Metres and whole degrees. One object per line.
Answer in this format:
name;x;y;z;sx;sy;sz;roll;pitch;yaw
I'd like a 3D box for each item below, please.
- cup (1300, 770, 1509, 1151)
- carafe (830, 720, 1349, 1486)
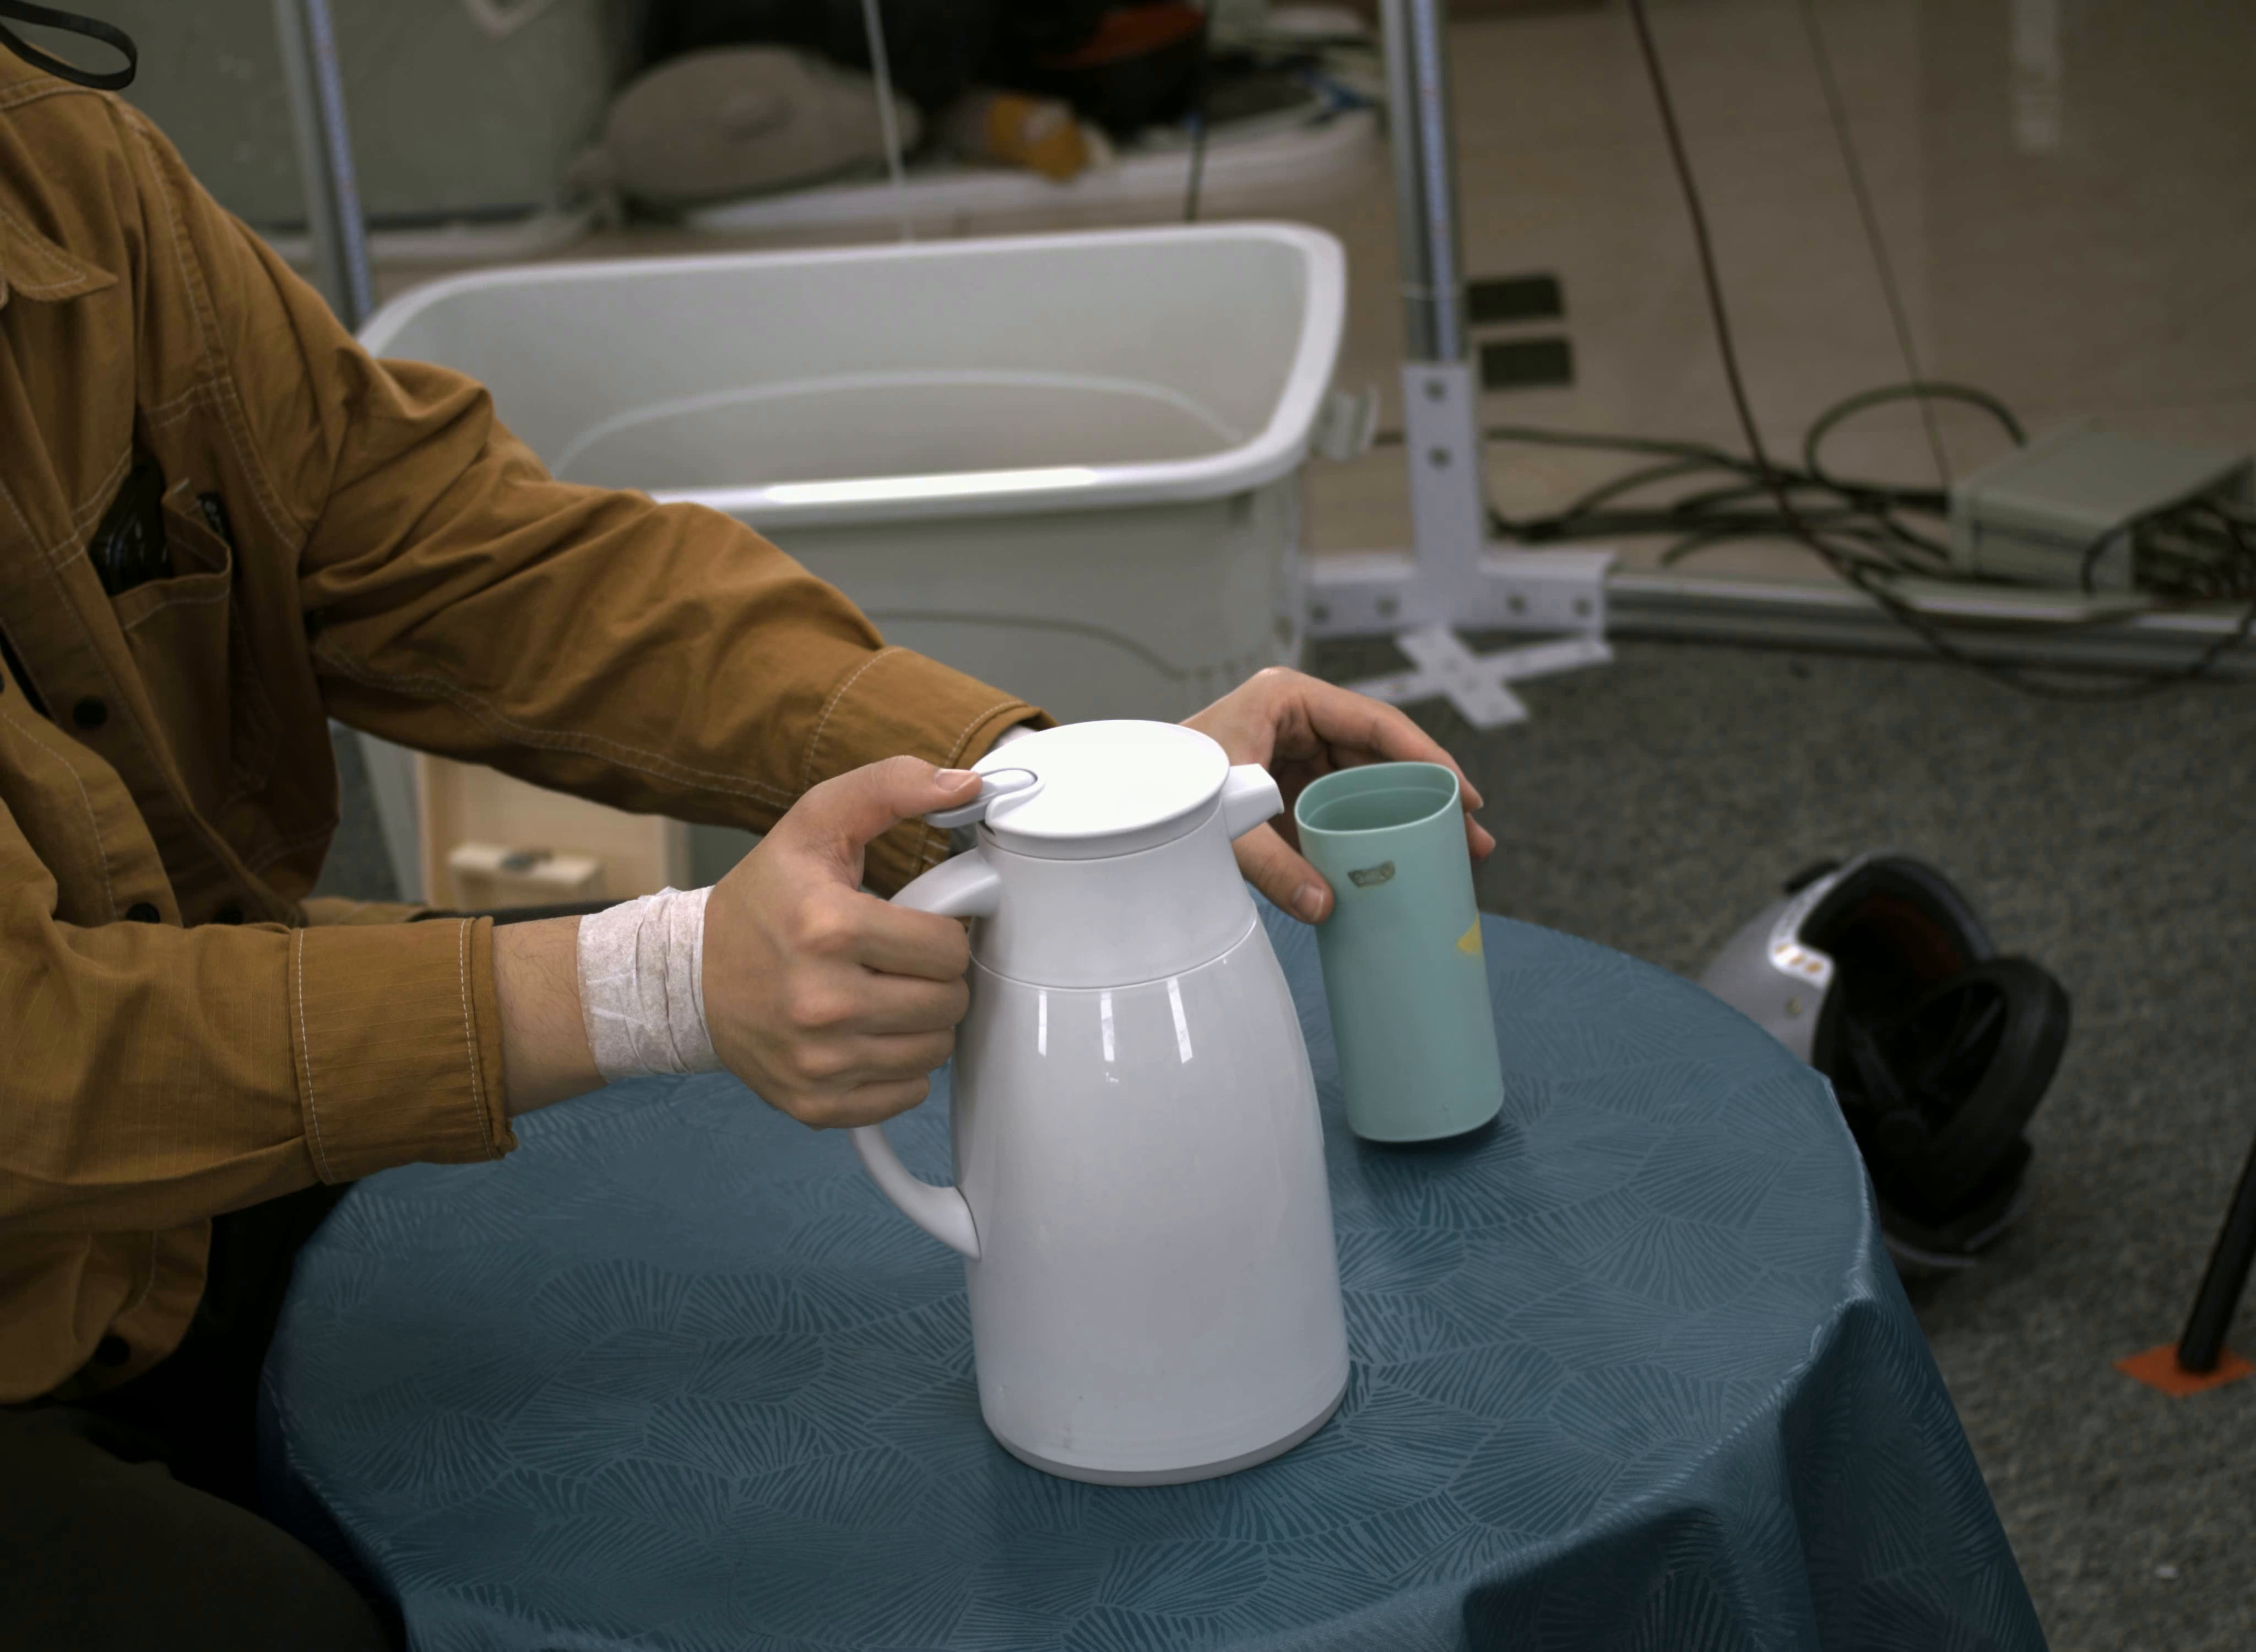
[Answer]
cup;0.104;0.051;2.145;0.066;0.134;0.066;-8;24;4
carafe;-0.017;0.093;1.954;0.167;0.252;0.131;-14;27;-15
